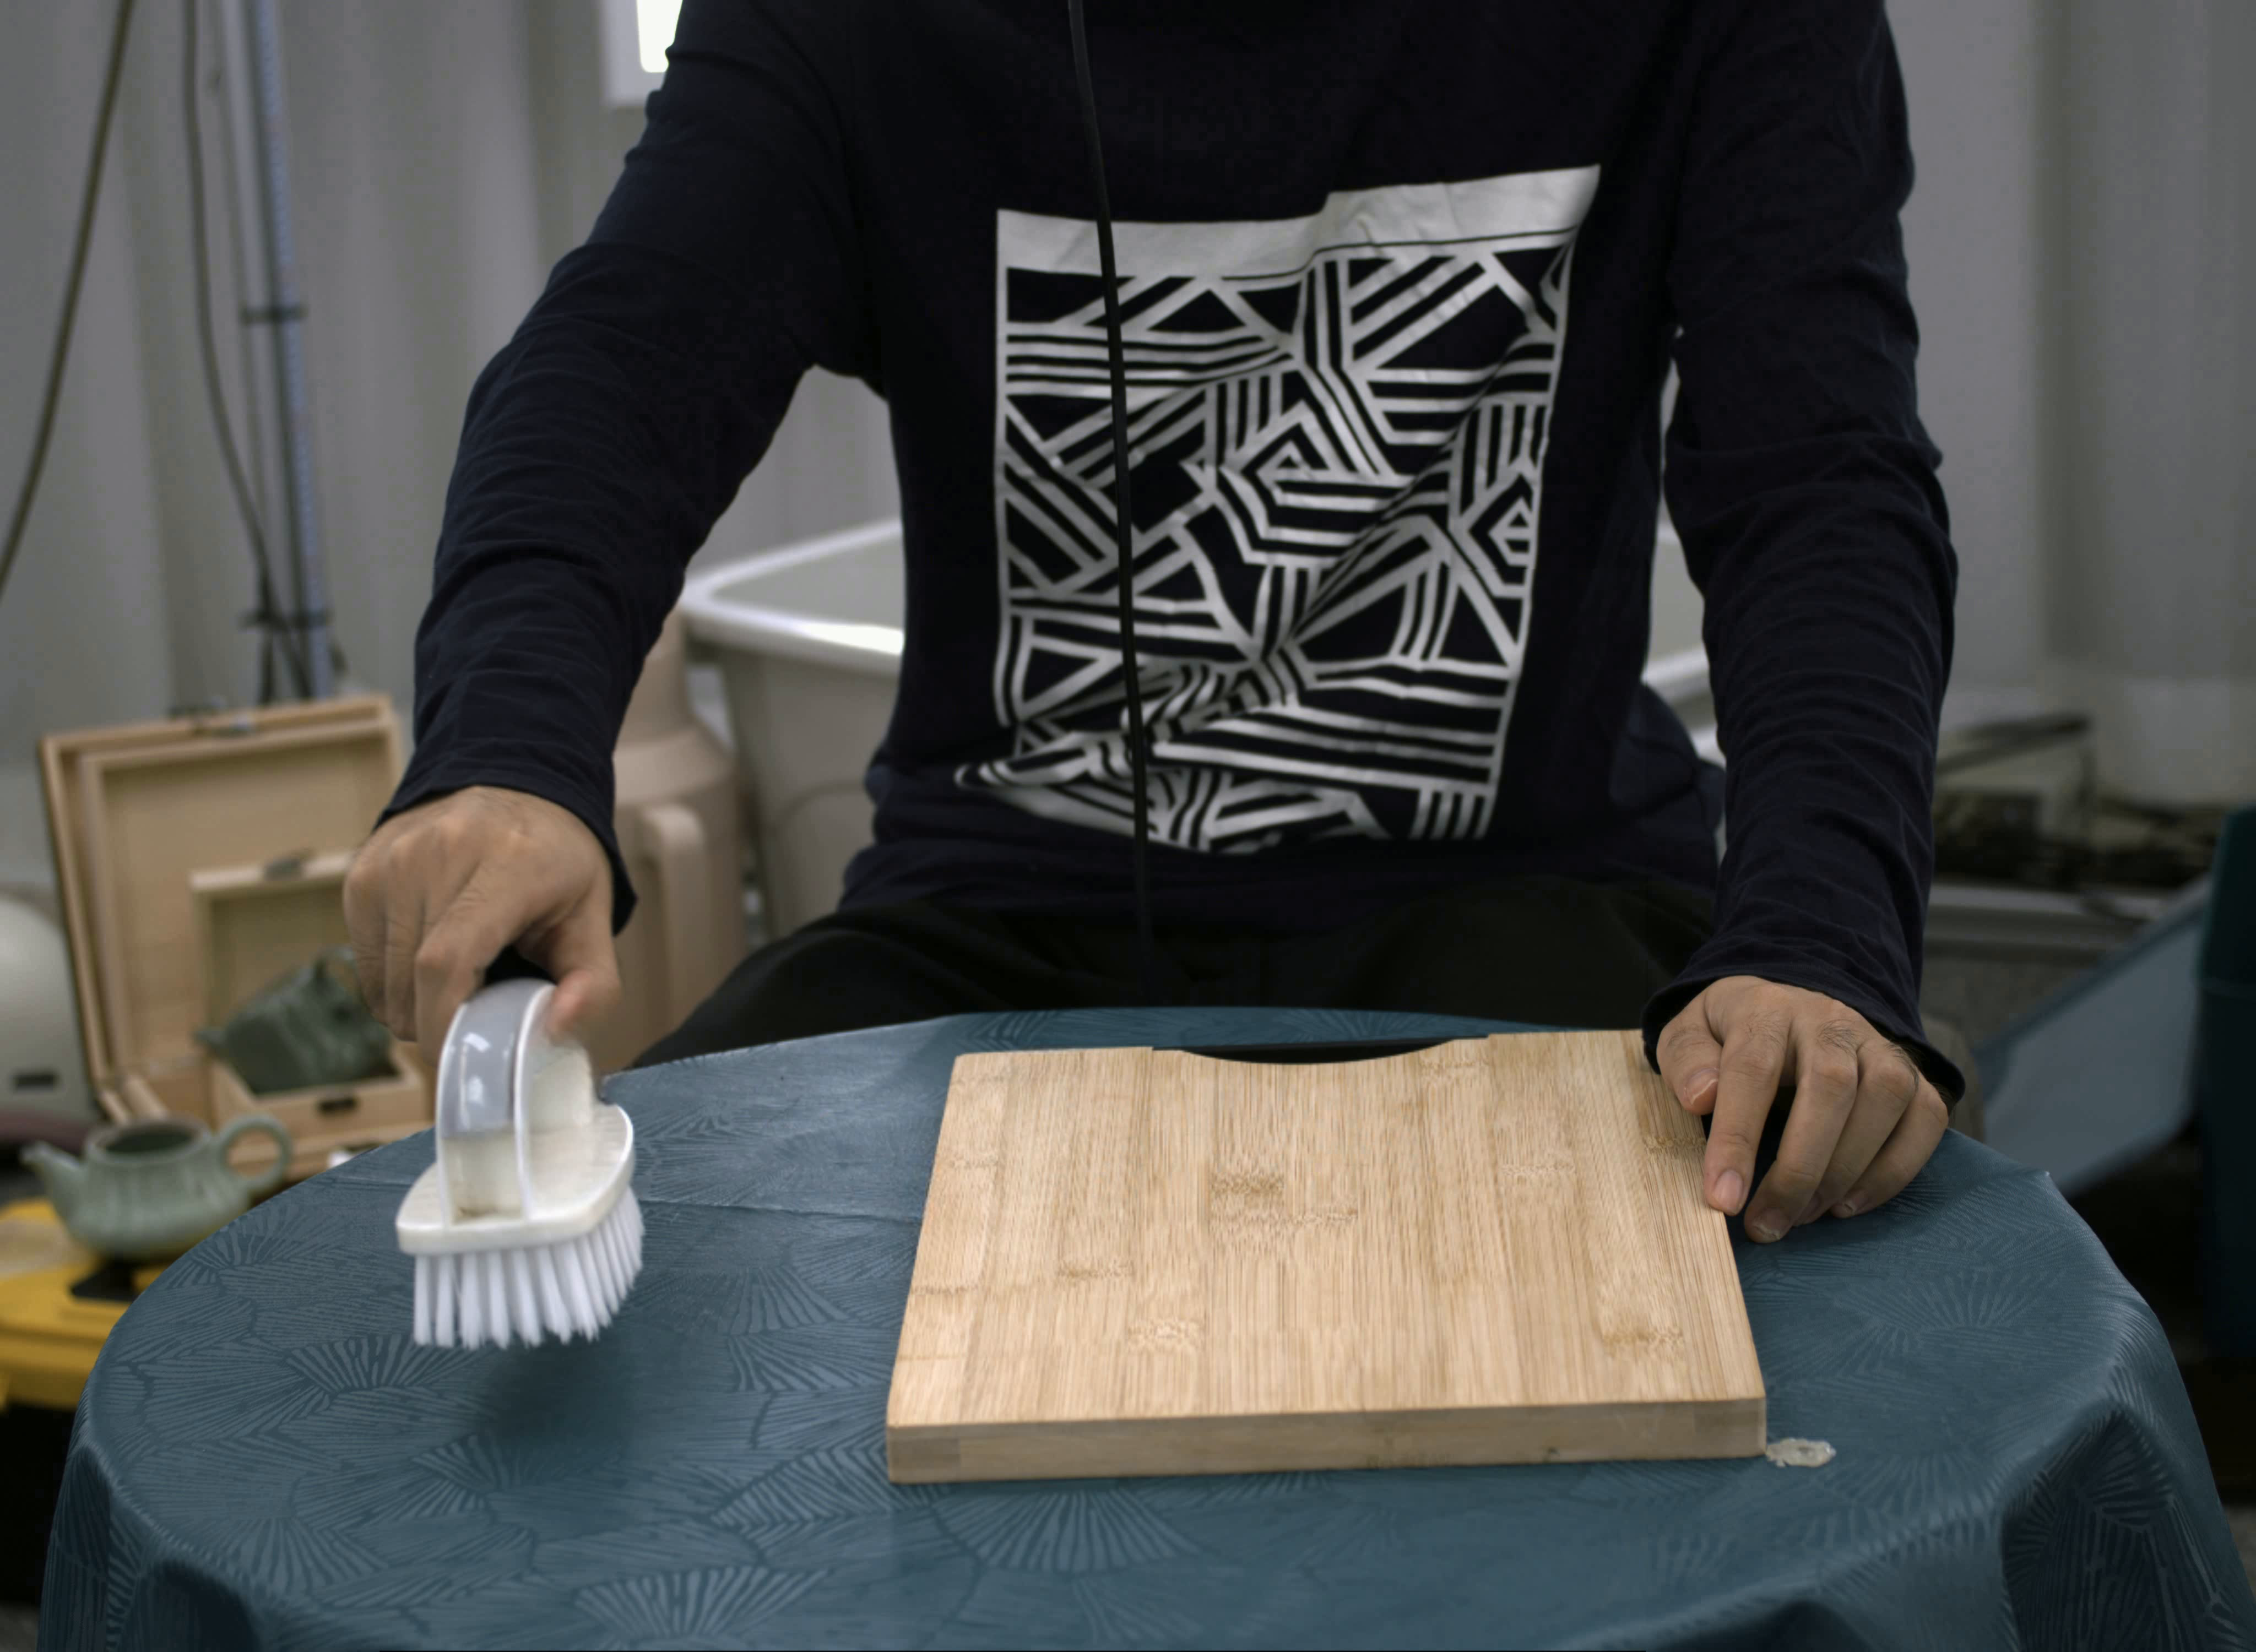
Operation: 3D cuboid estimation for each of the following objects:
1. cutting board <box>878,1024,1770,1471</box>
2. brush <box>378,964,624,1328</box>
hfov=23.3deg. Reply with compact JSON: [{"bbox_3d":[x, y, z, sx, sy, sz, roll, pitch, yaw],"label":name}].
[{"bbox_3d":[0.059,0.122,1.645,0.250,0.023,0.351,-2,15,1],"label":"cutting board"},{"bbox_3d":[-0.177,0.085,1.591,0.061,0.094,0.176,-5,8,5],"label":"brush"}]
